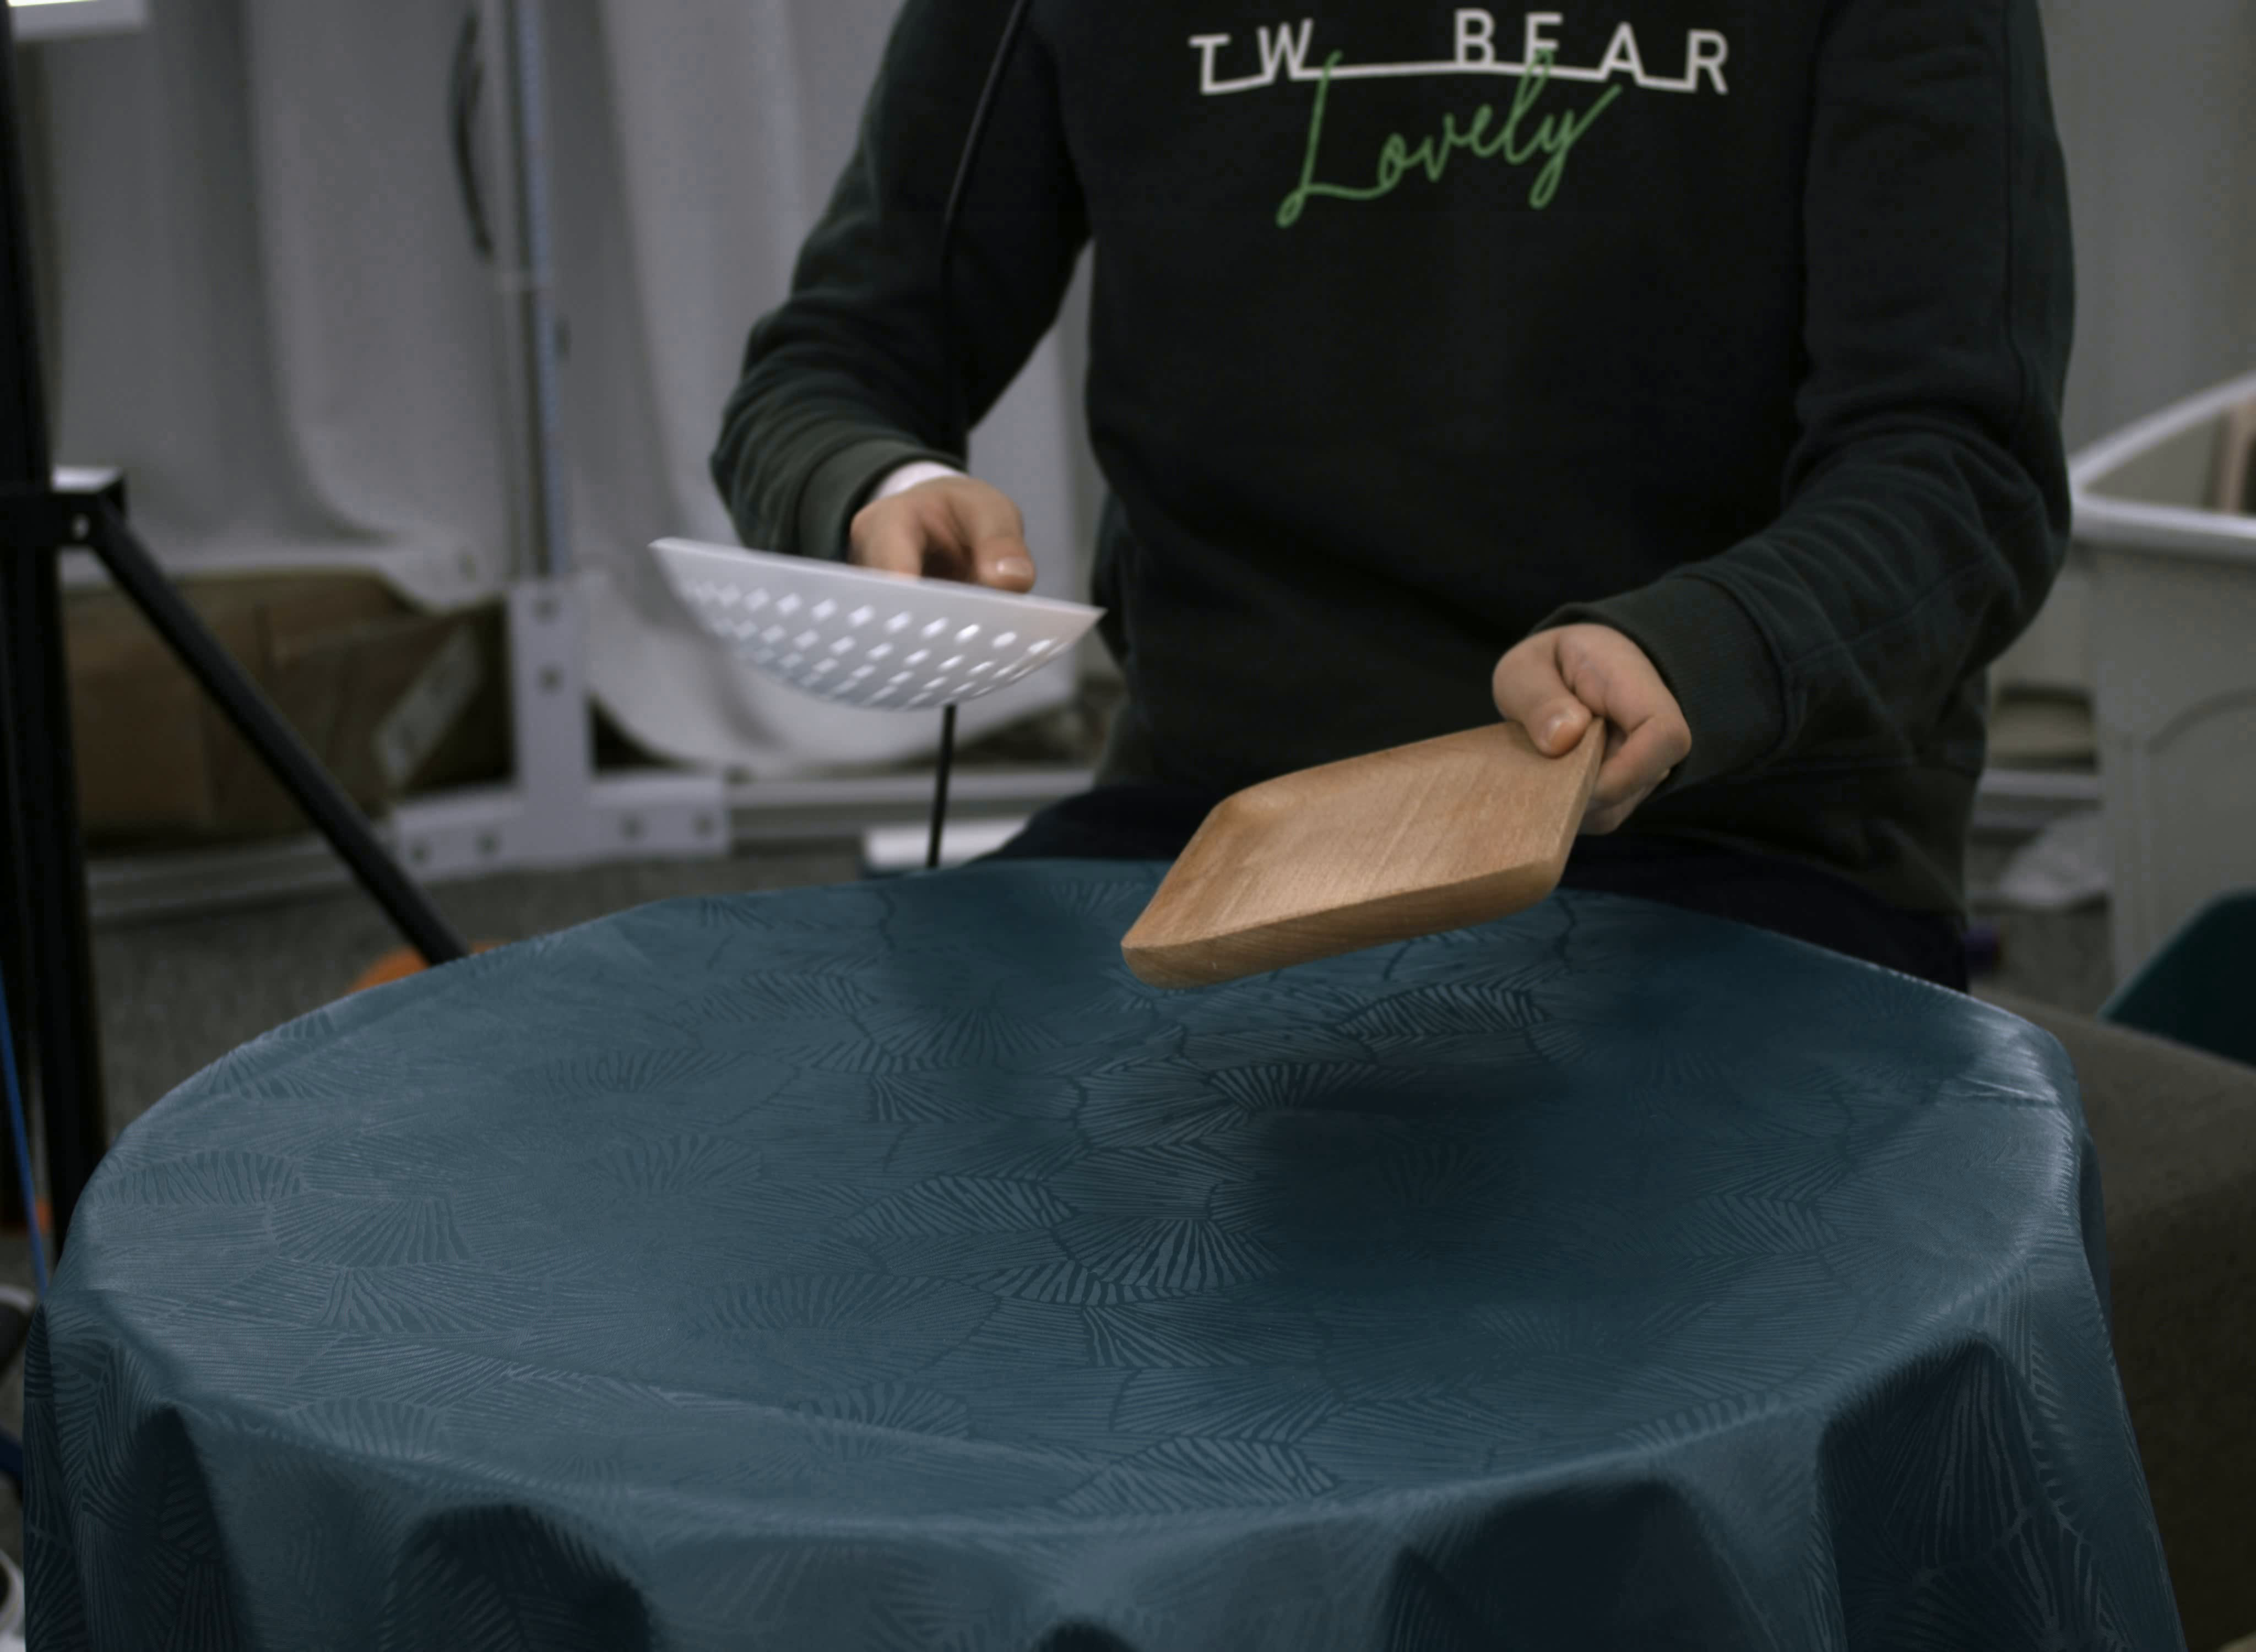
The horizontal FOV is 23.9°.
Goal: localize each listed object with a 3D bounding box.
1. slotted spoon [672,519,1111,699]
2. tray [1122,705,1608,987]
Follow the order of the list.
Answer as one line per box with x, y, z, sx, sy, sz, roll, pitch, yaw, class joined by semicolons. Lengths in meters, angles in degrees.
-0.062;-0.072;1.711;0.136;0.046;0.348;11;6;6;slotted spoon
0.074;0.004;1.564;0.131;0.023;0.249;-11;8;11;tray
